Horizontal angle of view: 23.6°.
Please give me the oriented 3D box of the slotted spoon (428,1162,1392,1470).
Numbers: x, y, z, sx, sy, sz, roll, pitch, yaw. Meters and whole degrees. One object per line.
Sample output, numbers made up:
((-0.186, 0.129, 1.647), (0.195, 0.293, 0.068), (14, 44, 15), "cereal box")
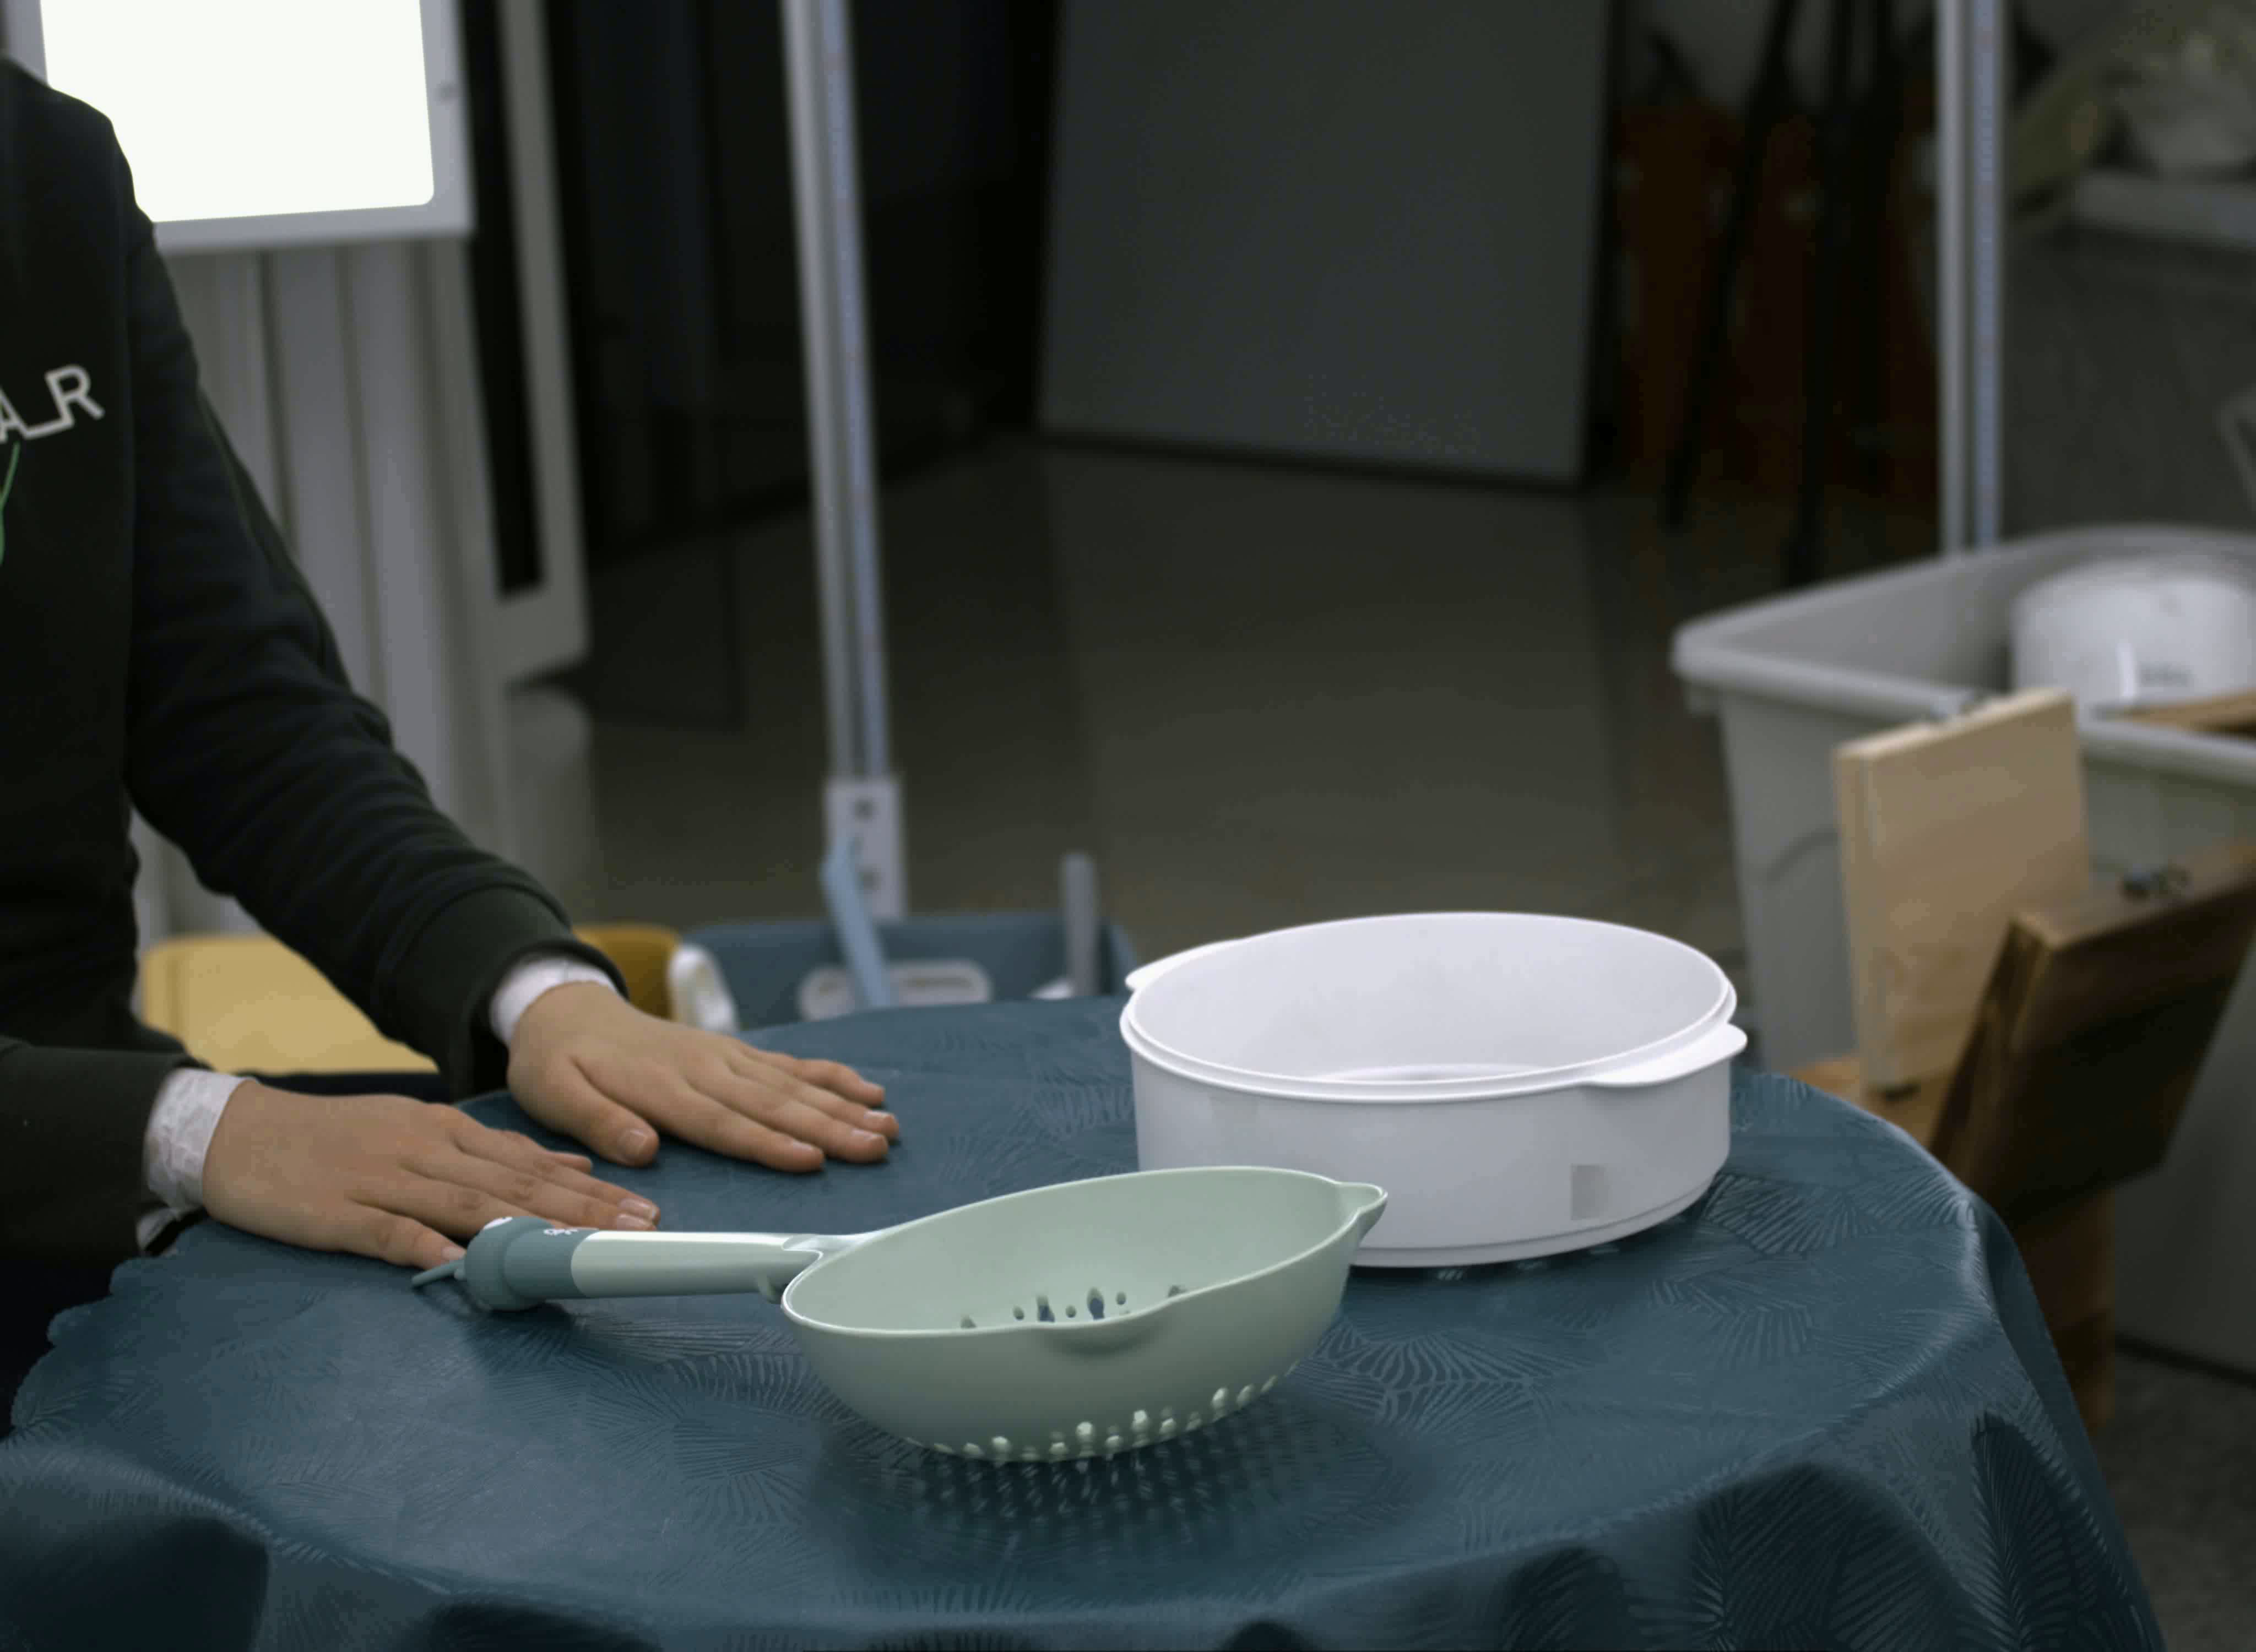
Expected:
((-0.086, 0.136, 1.604), (0.361, 0.076, 0.166), (8, 17, 40), "slotted spoon")

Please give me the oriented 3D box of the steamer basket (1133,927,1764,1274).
((0.102, 0.088, 1.741), (0.232, 0.070, 0.198), (8, 17, 42), "steamer basket")
